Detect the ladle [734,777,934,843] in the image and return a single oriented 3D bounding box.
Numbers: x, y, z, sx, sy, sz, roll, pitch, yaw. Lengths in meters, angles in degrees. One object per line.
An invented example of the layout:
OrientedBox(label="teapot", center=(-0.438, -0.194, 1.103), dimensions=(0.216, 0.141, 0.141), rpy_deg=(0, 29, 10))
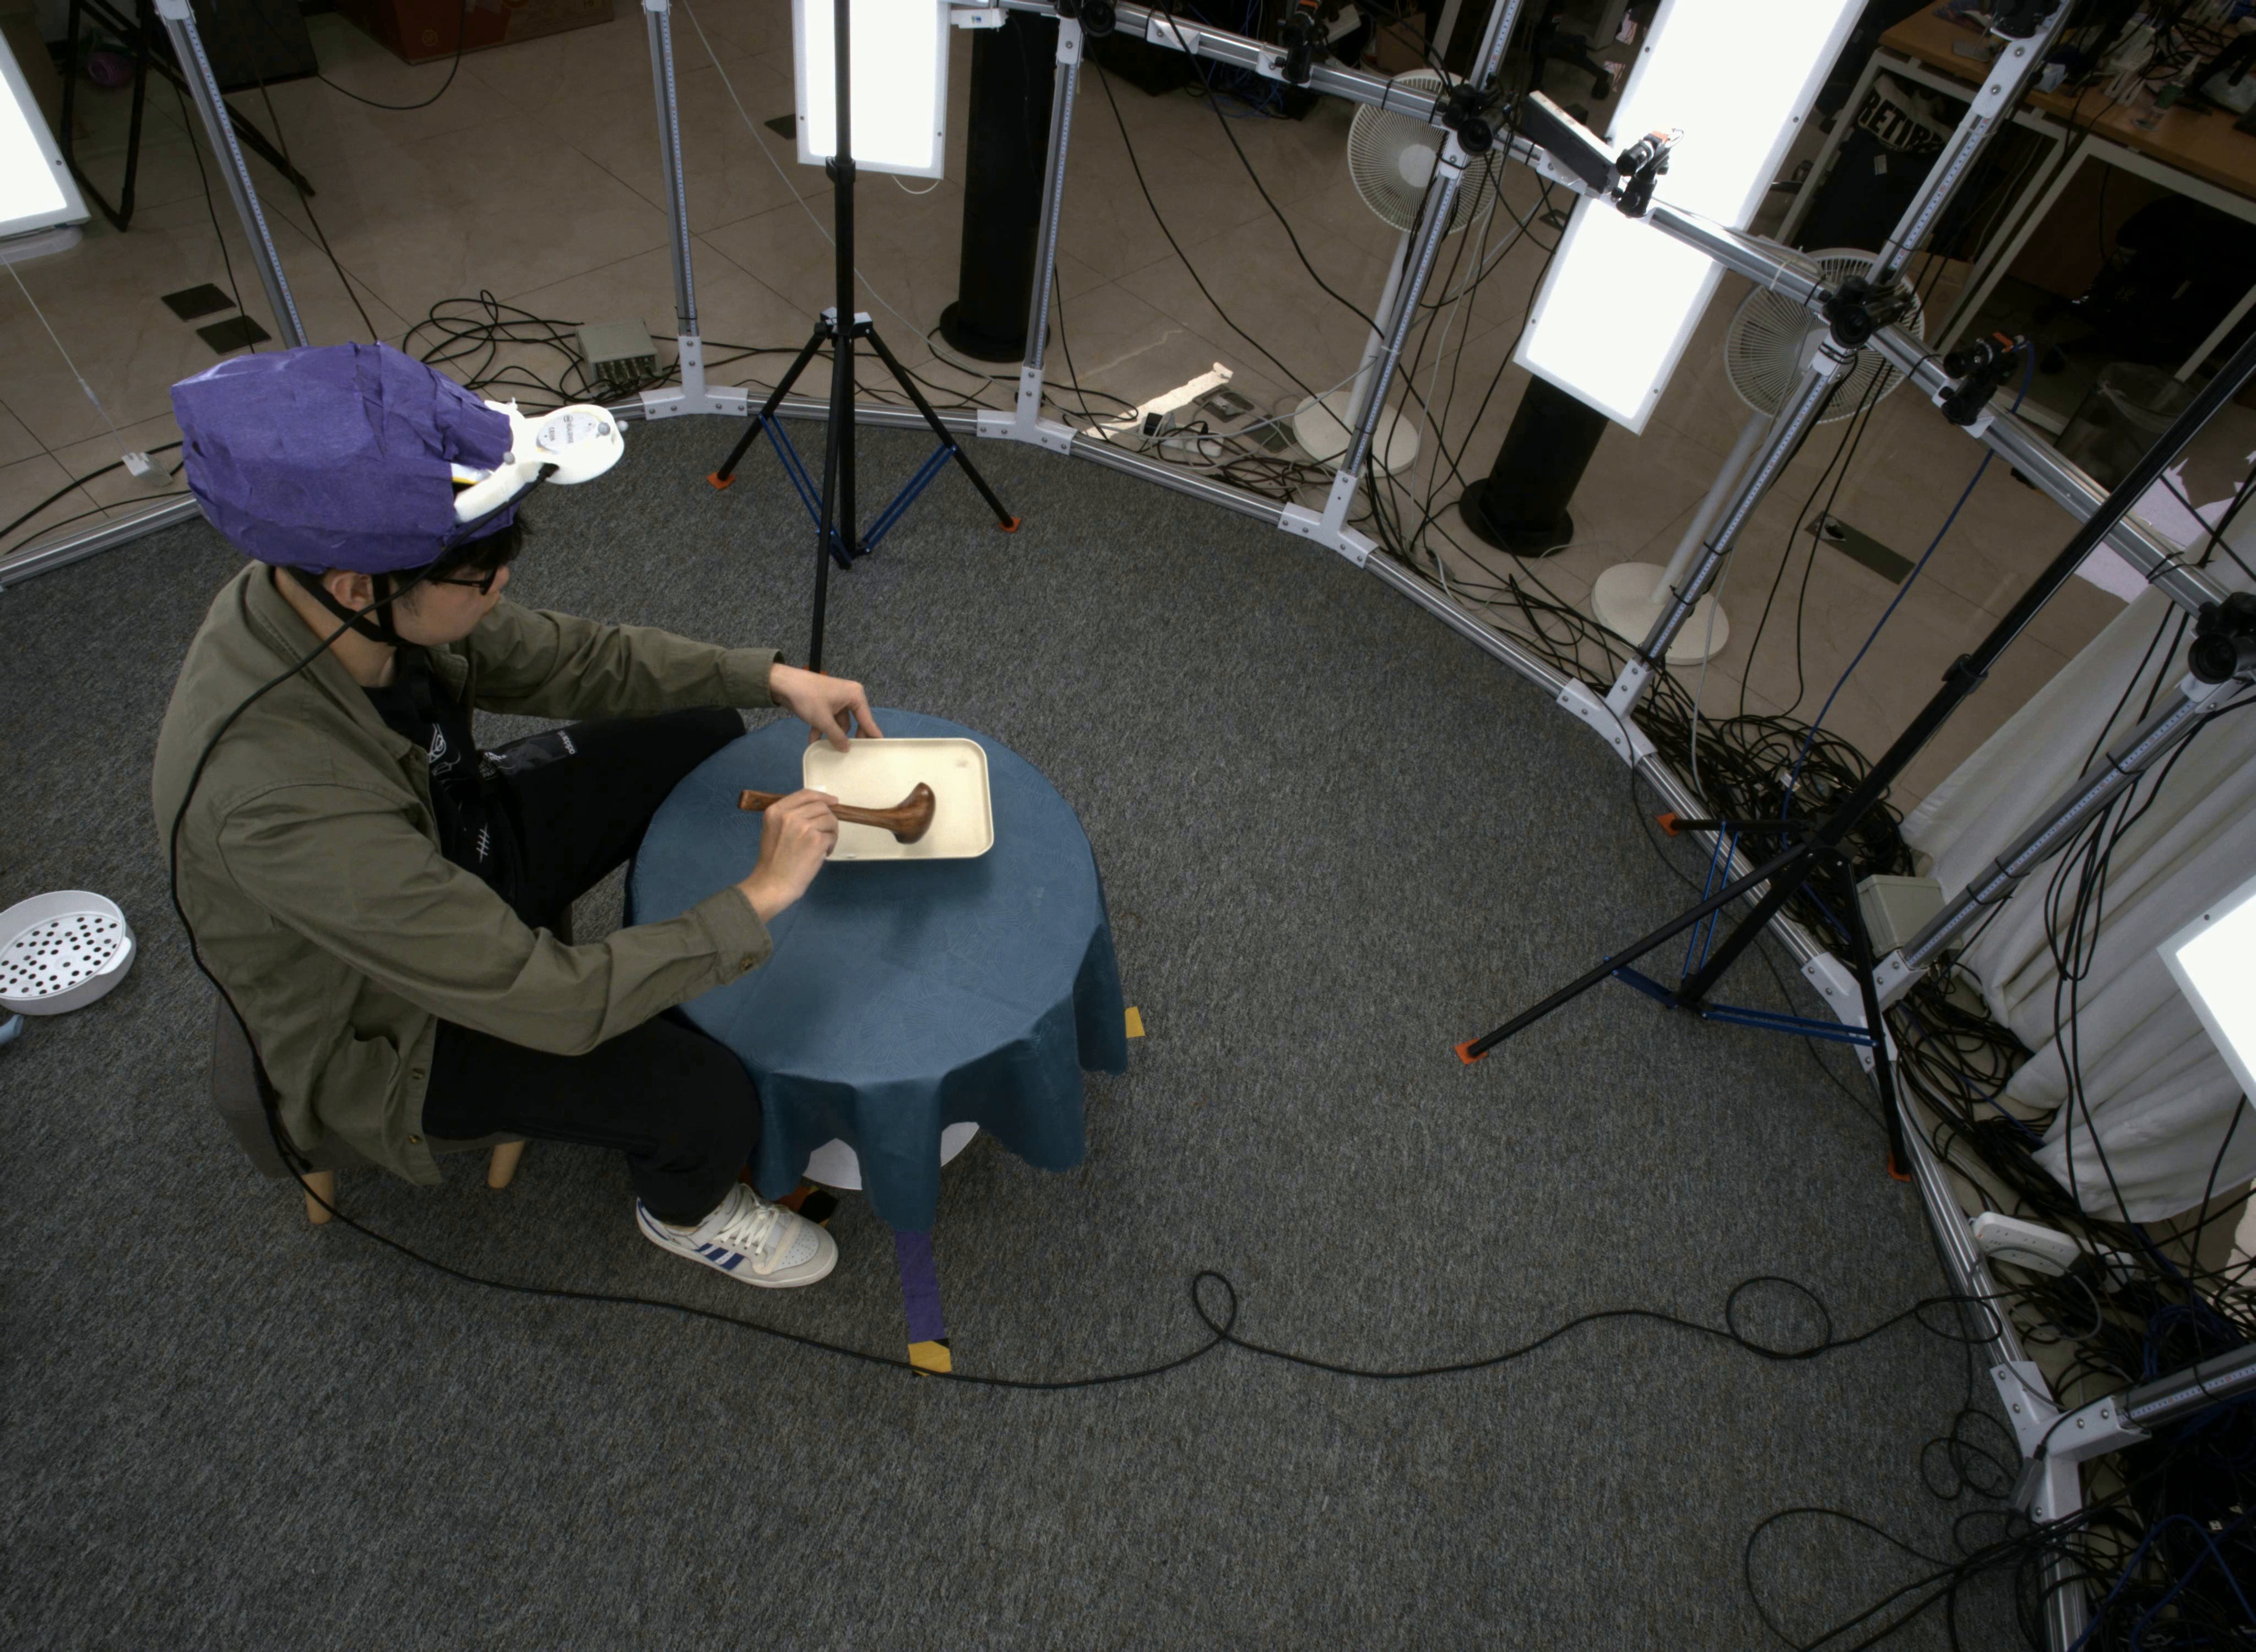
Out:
OrientedBox(label="ladle", center=(-0.349, -0.027, 1.553), dimensions=(0.280, 0.083, 0.073), rpy_deg=(5, 15, -40))

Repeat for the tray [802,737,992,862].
OrientedBox(label="tray", center=(-0.299, -0.035, 1.689), dimensions=(0.241, 0.017, 0.170), rpy_deg=(-1, 69, -18))
